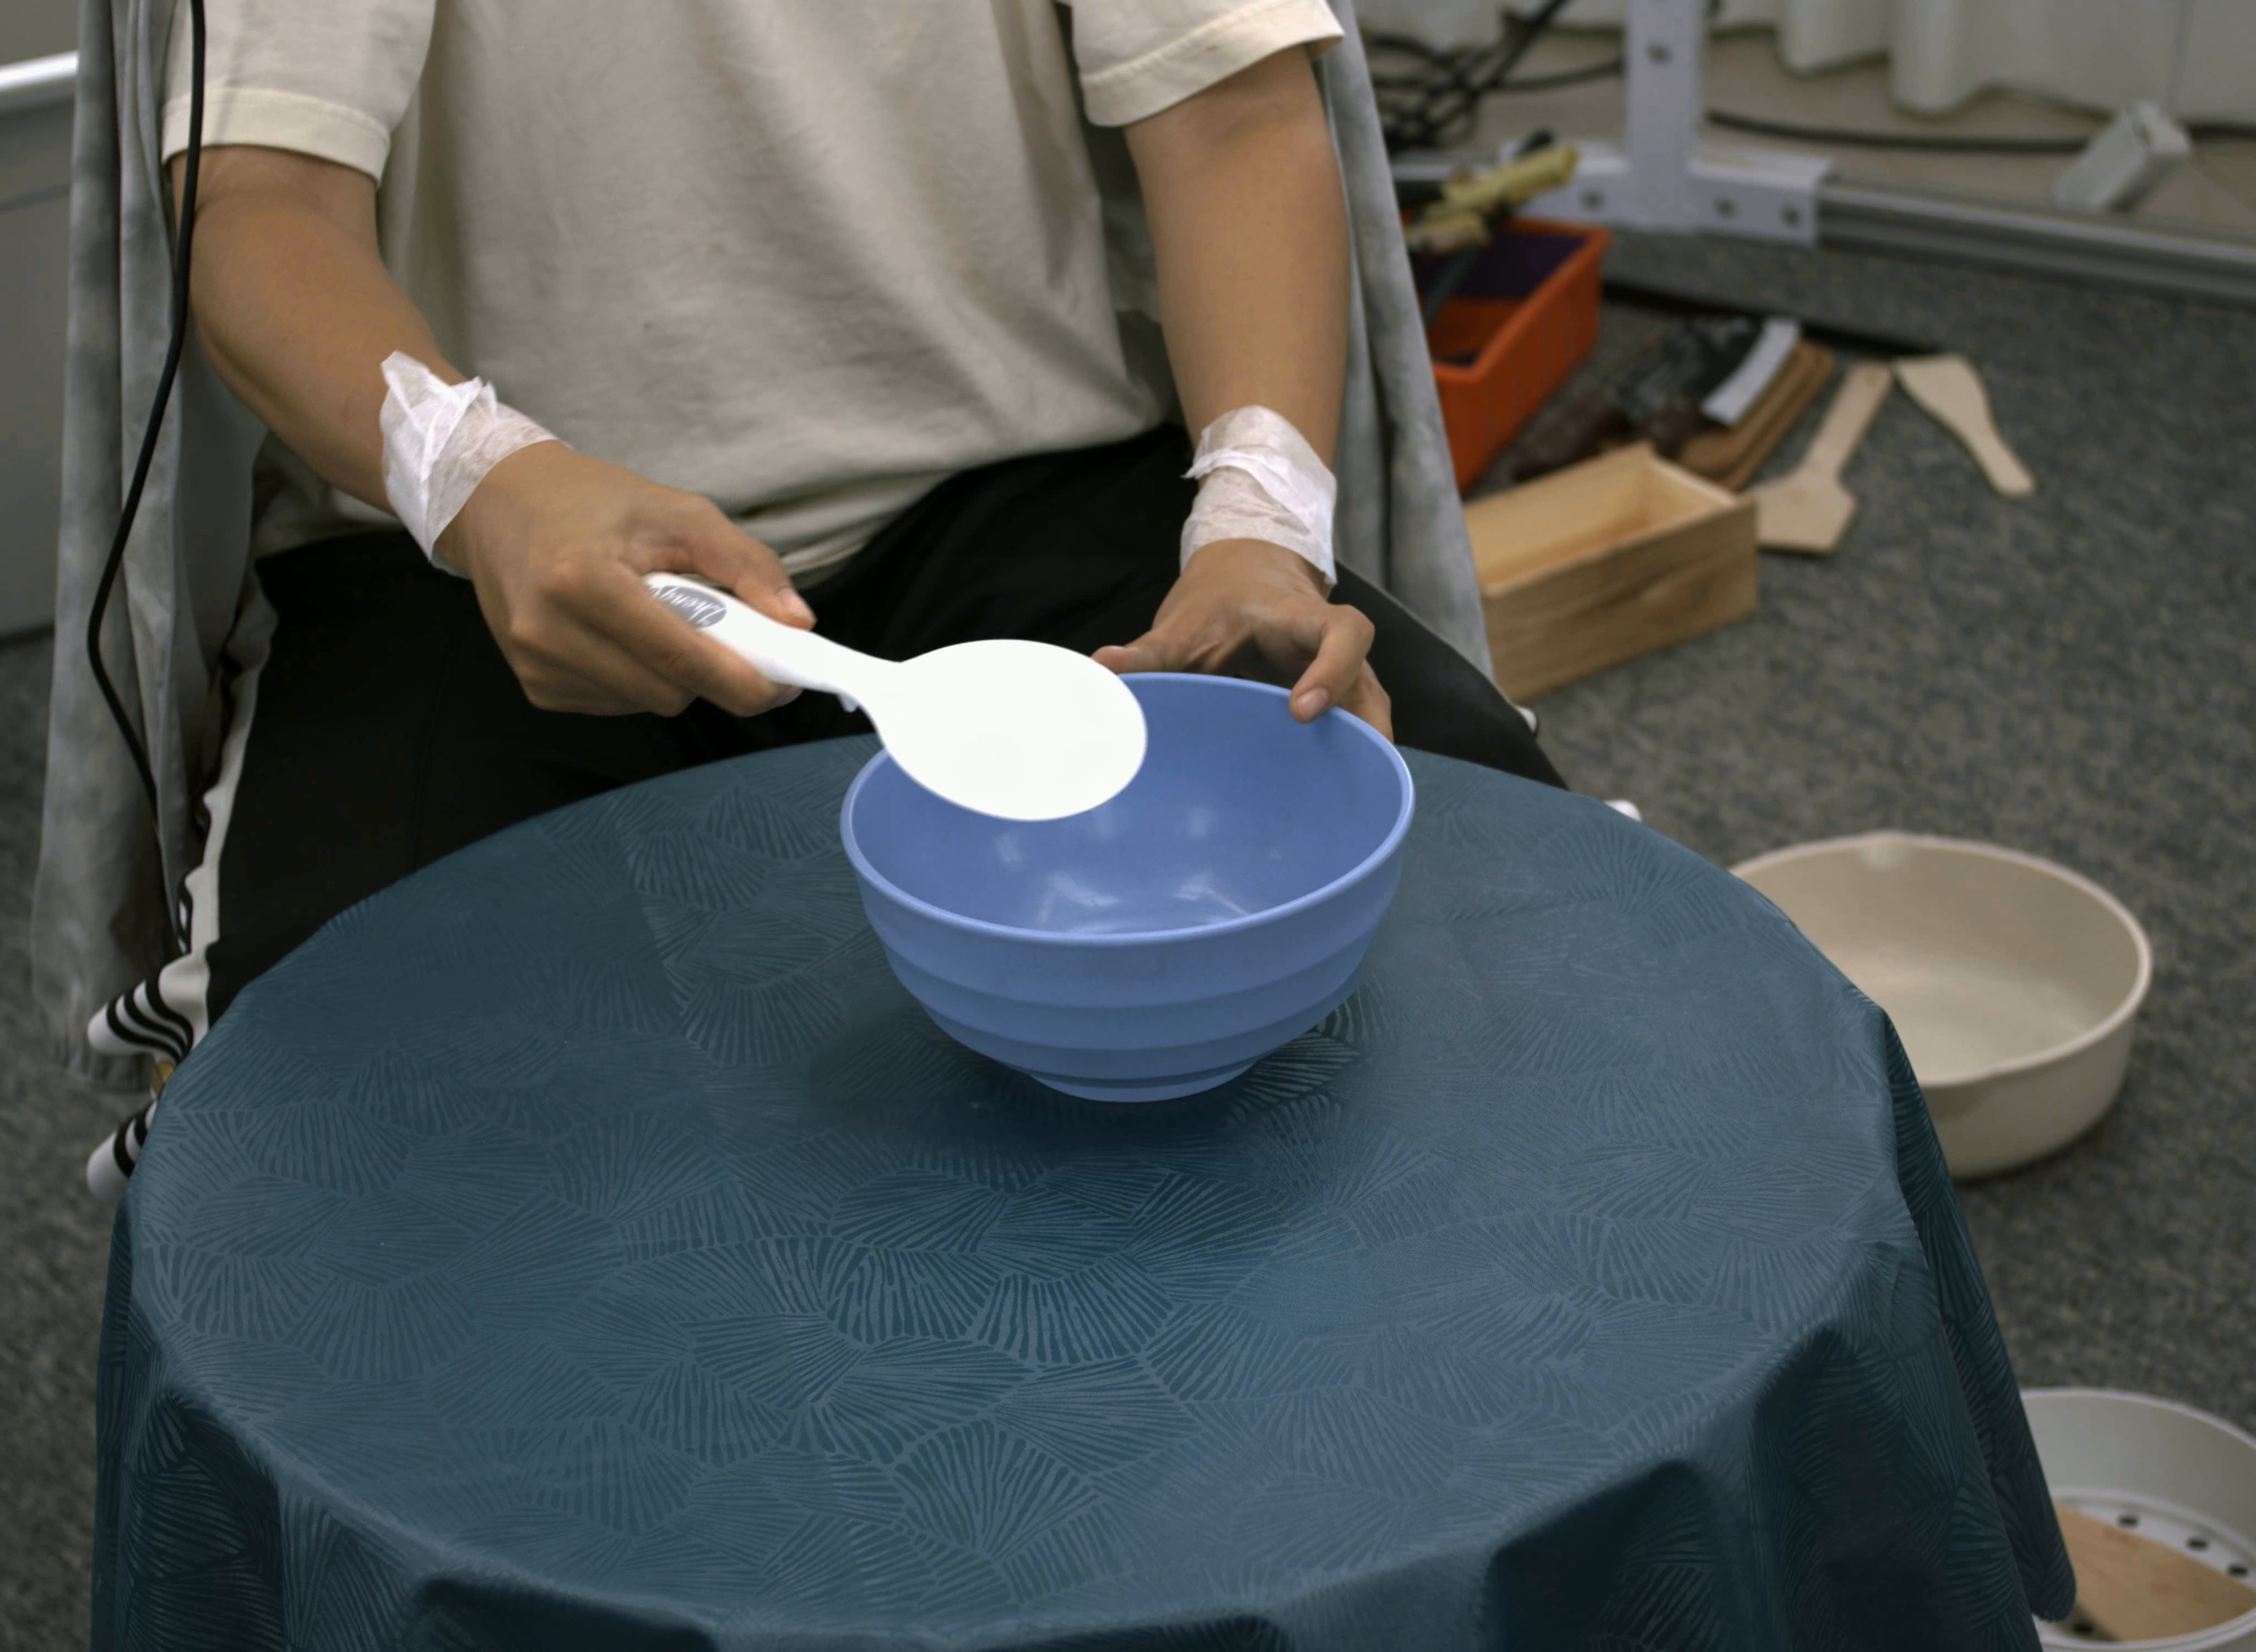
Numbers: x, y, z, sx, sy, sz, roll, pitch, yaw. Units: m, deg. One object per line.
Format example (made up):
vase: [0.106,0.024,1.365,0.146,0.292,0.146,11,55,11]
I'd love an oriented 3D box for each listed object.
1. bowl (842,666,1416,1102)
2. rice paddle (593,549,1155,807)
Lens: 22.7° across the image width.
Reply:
bowl: [0.002,0.031,1.932,0.195,0.094,0.199,-2,28,2]
rice paddle: [-0.085,-0.053,1.886,0.204,0.029,0.070,17,59,21]
